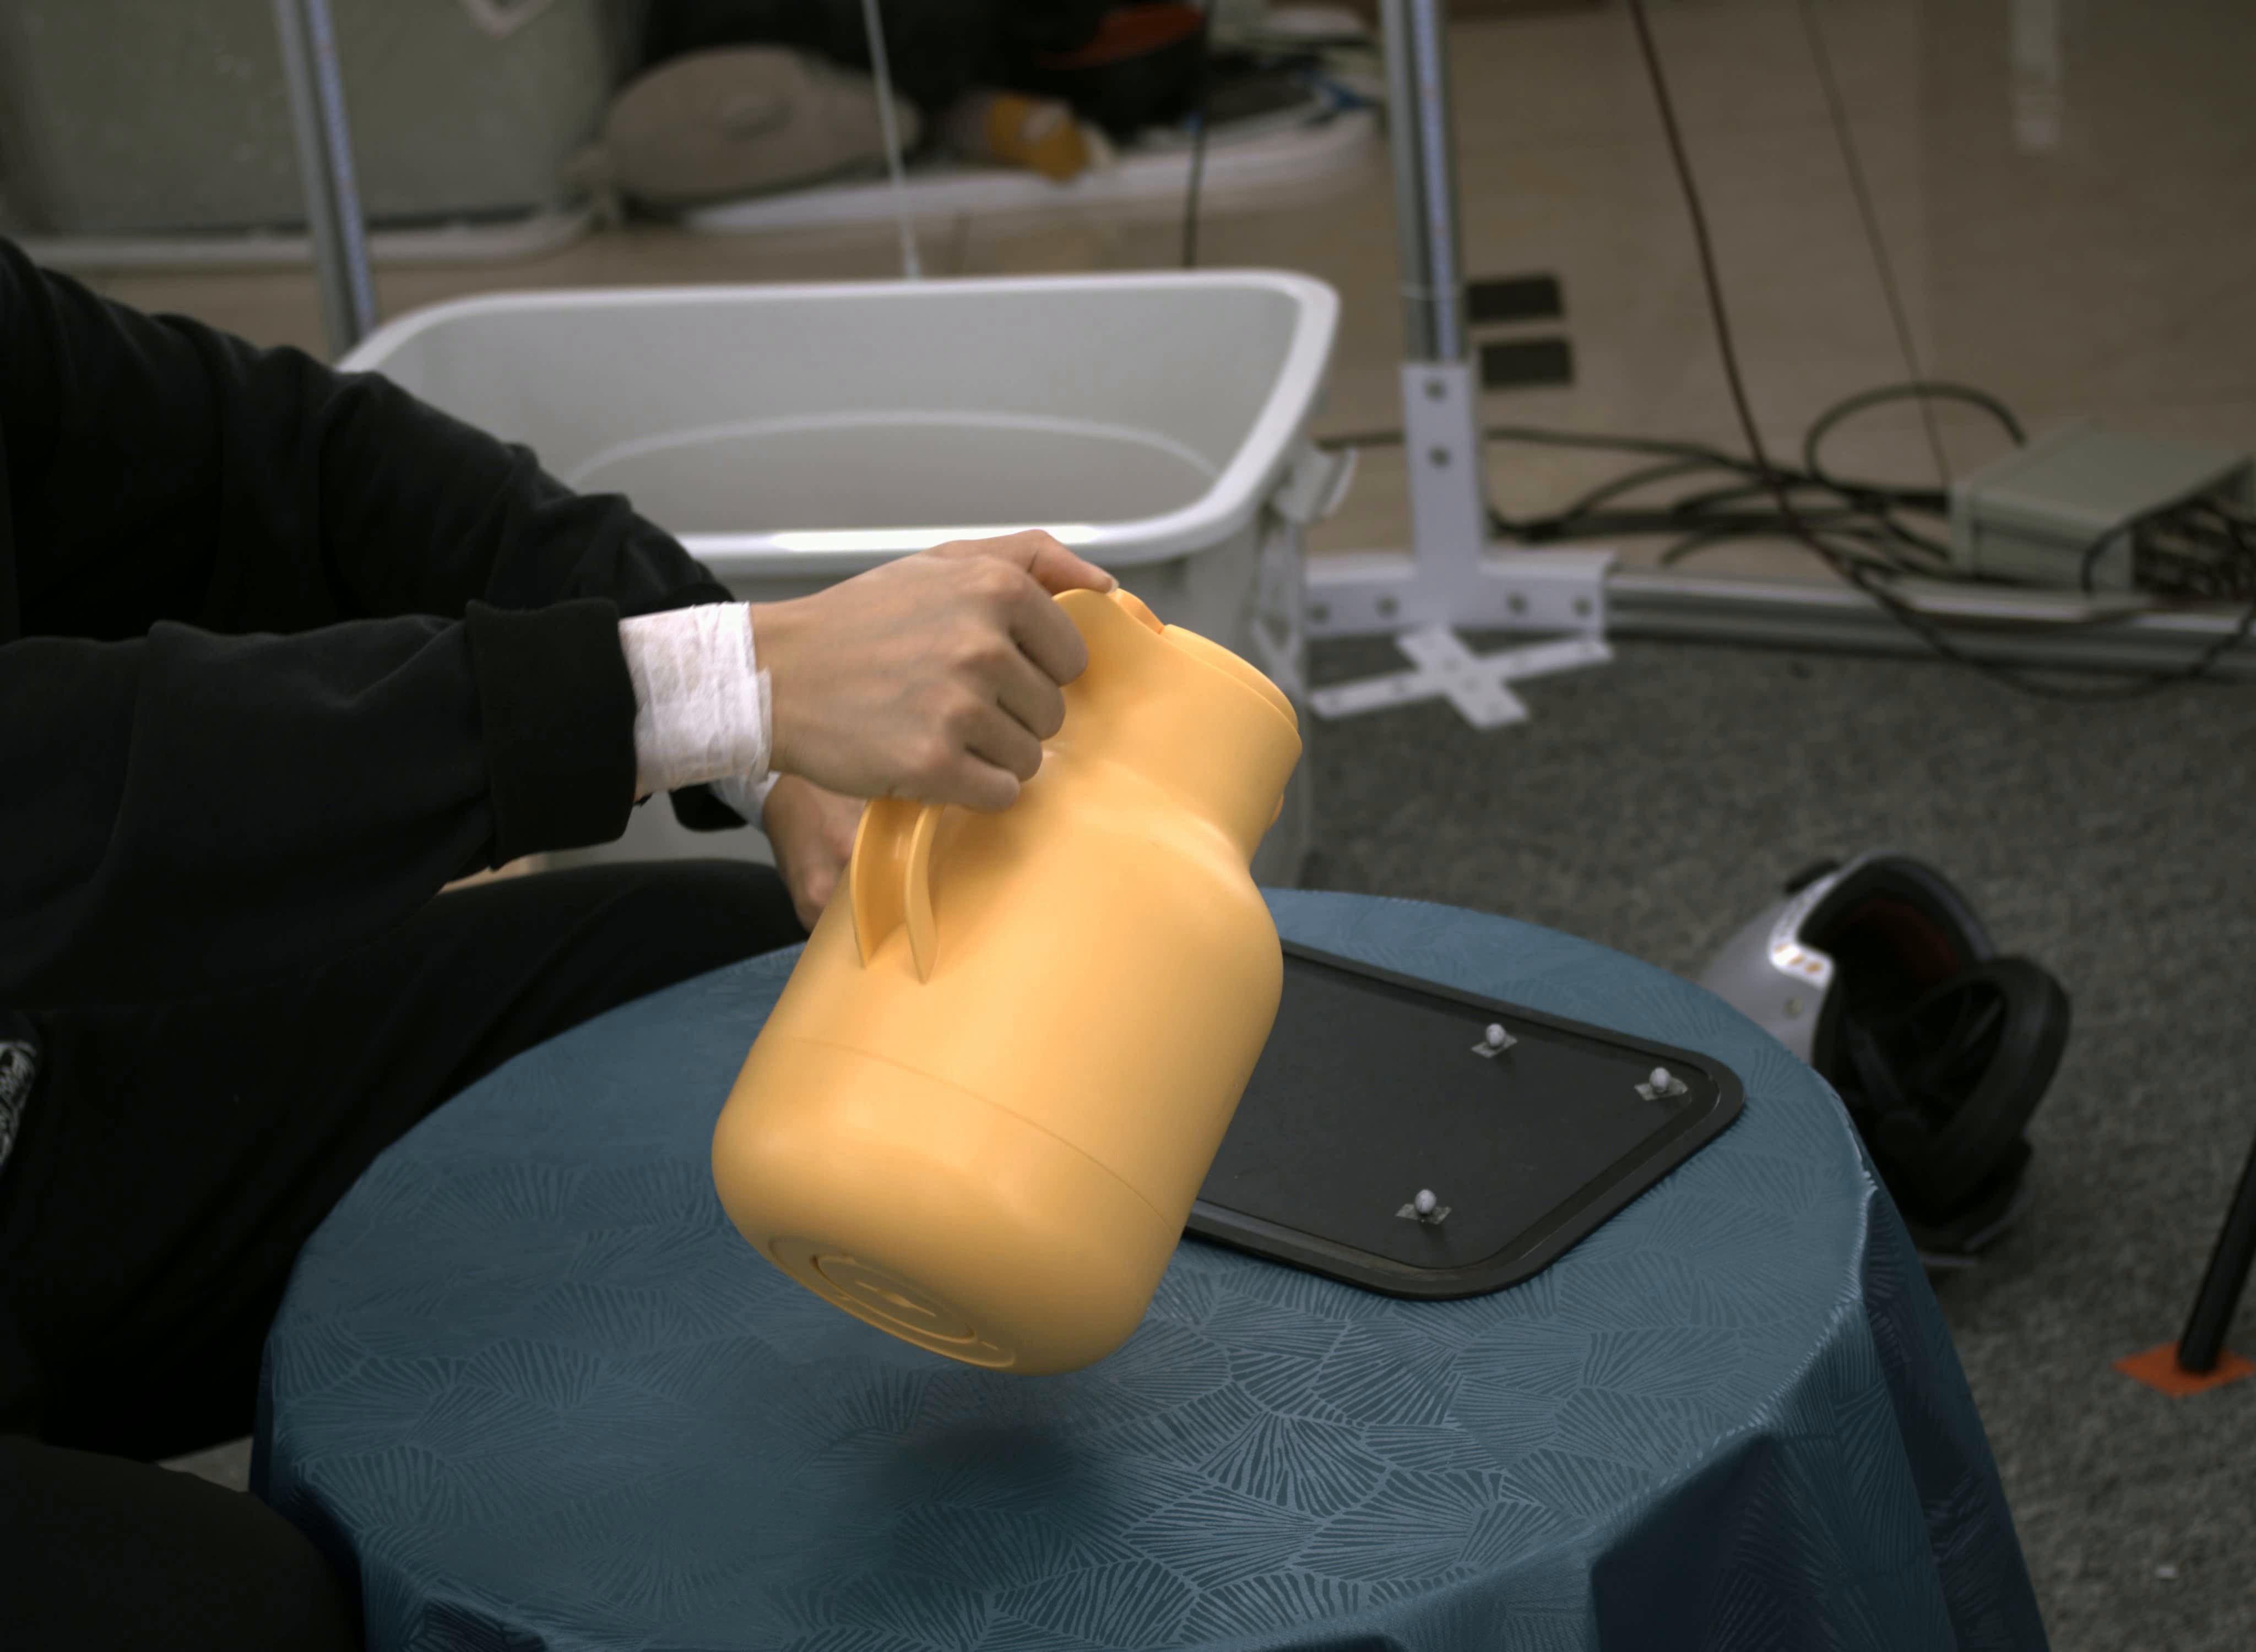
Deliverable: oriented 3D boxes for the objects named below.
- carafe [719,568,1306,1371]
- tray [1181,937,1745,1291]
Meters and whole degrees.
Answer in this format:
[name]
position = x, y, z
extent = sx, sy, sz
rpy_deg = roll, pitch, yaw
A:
[carafe]
position = -0.037, 0.041, 1.978
extent = 0.162, 0.205, 0.258
rpy_deg = 9, 65, 35
[tray]
position = 0.062, 0.102, 2.197
extent = 0.323, 0.010, 0.209
rpy_deg = 16, 32, 36
